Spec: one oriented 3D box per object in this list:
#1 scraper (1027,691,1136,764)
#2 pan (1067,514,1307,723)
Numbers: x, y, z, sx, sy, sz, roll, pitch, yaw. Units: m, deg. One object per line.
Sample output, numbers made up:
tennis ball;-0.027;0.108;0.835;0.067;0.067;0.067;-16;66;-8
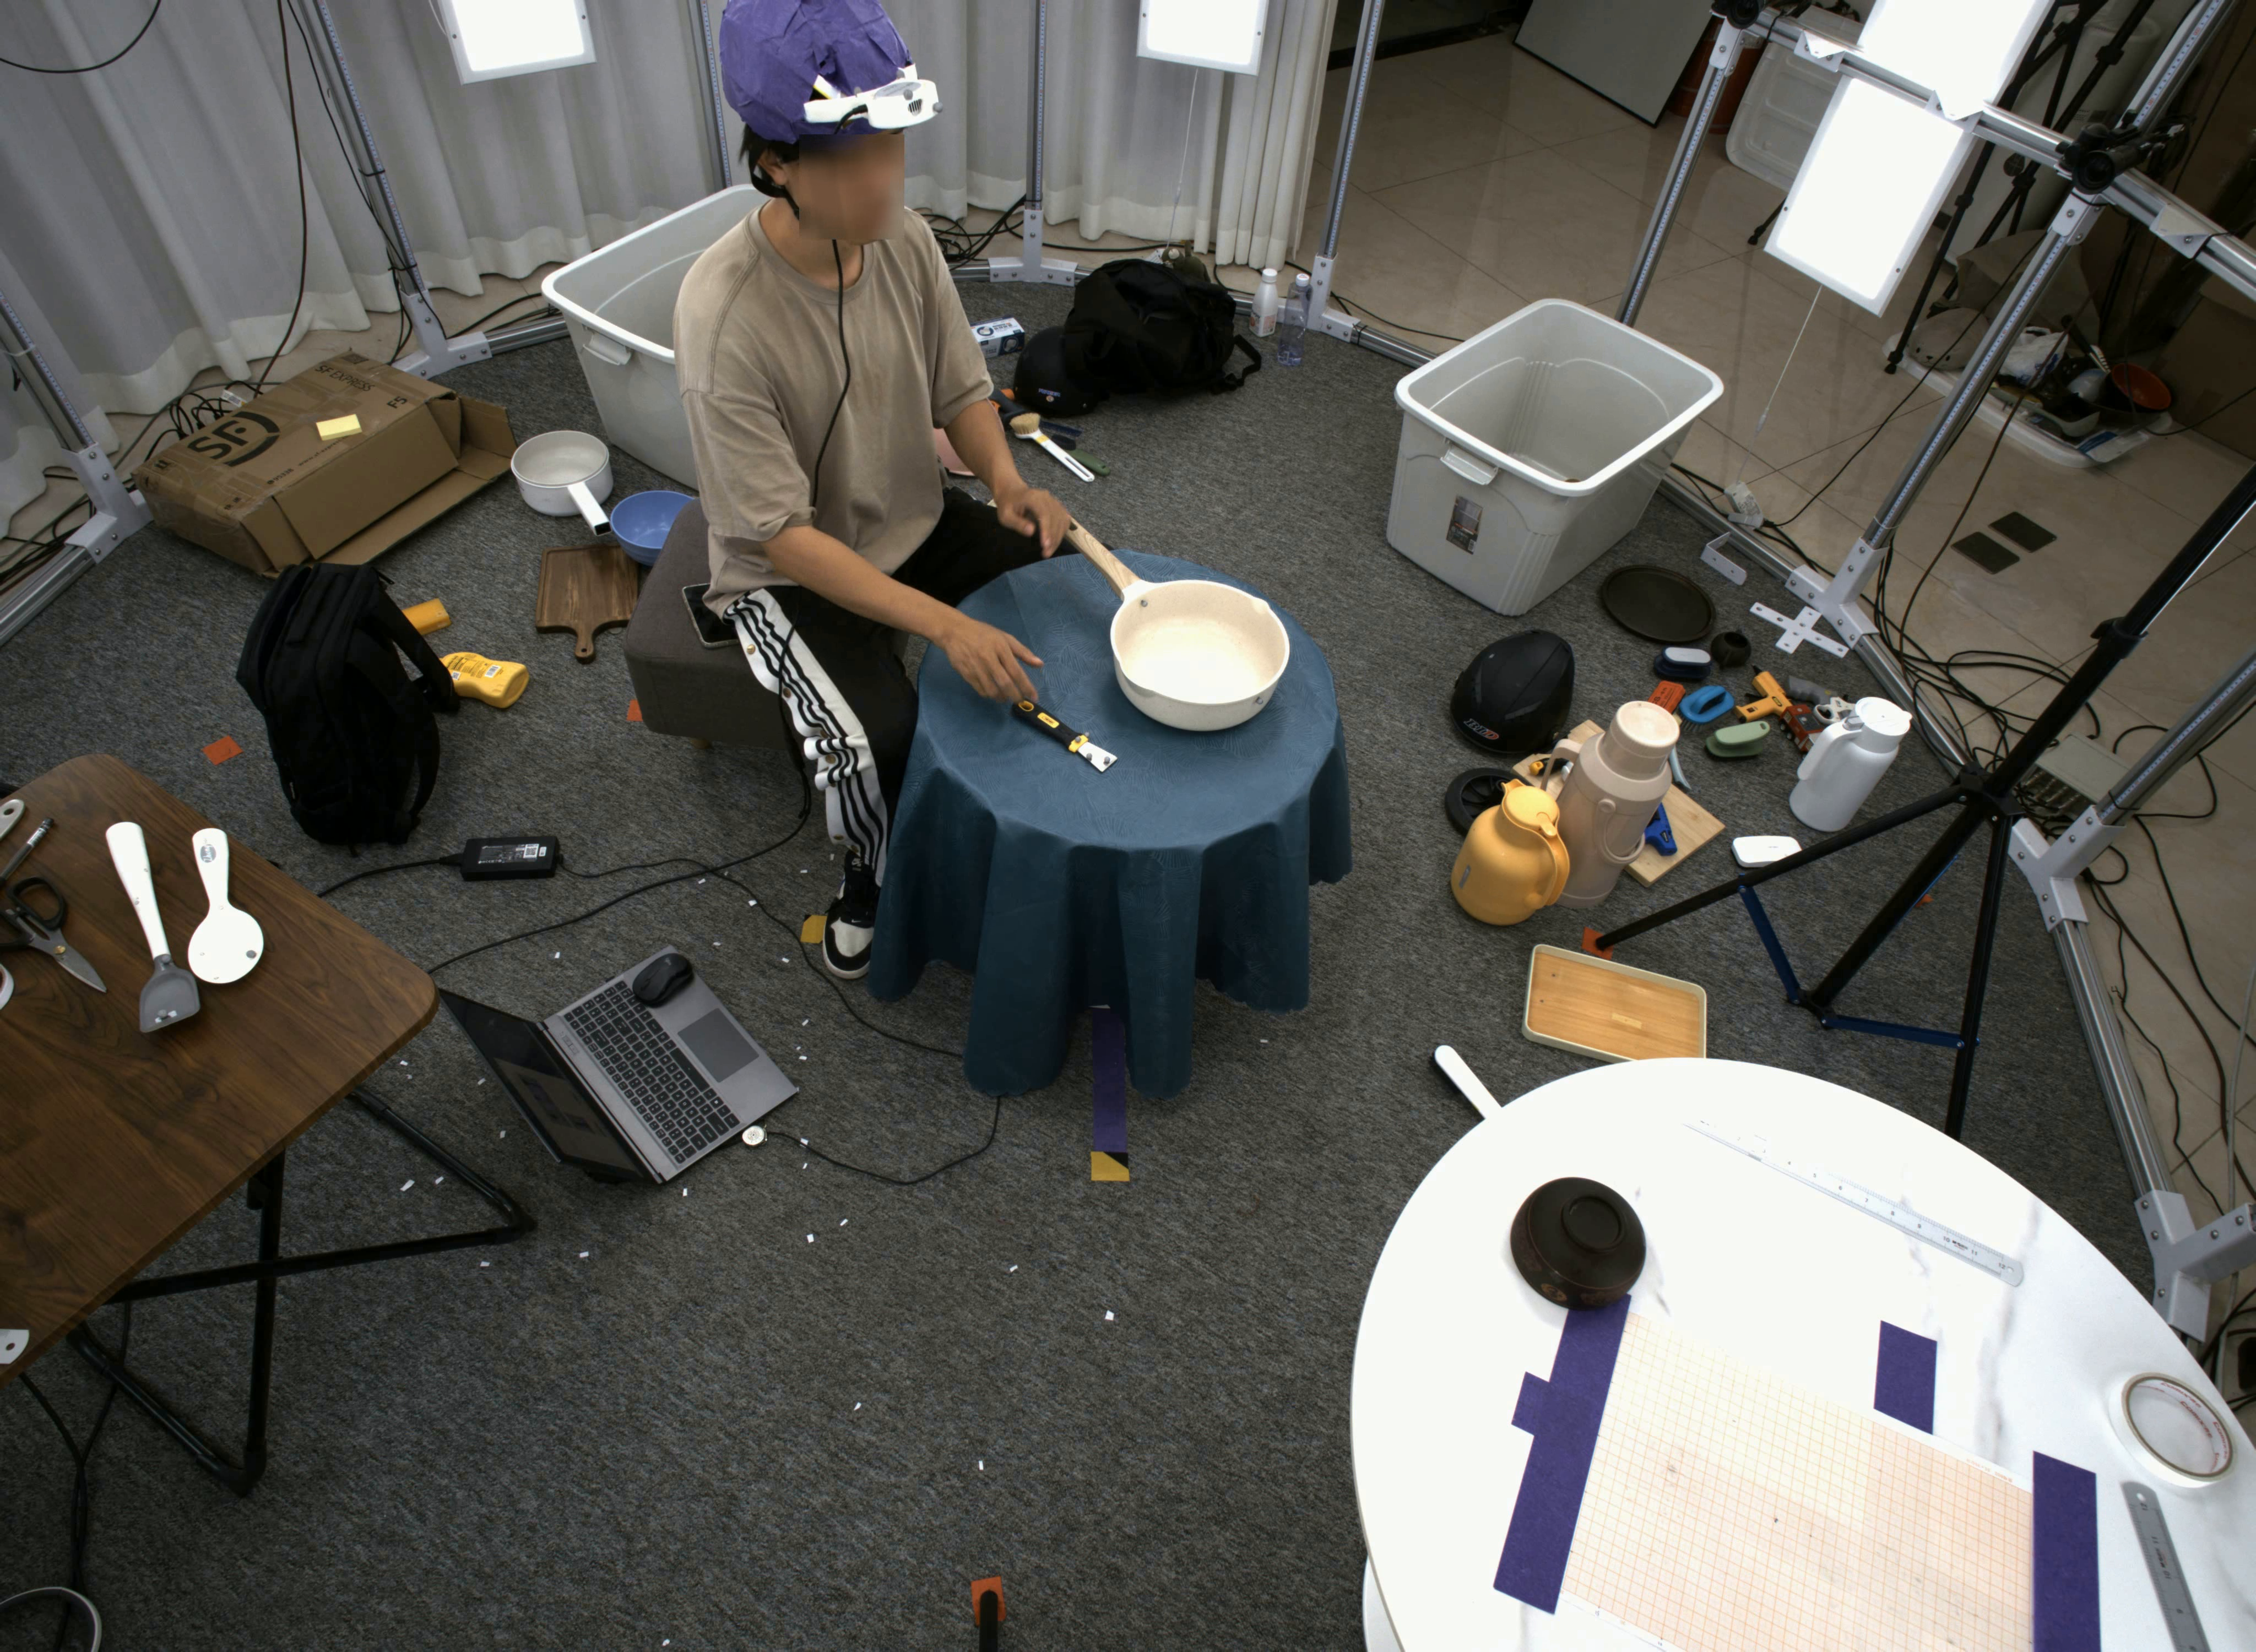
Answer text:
scraper;-0.068;-0.136;1.754;0.173;0.014;0.039;32;60;19
pan;0.062;-0.307;1.866;0.265;0.099;0.442;-34;59;-27
